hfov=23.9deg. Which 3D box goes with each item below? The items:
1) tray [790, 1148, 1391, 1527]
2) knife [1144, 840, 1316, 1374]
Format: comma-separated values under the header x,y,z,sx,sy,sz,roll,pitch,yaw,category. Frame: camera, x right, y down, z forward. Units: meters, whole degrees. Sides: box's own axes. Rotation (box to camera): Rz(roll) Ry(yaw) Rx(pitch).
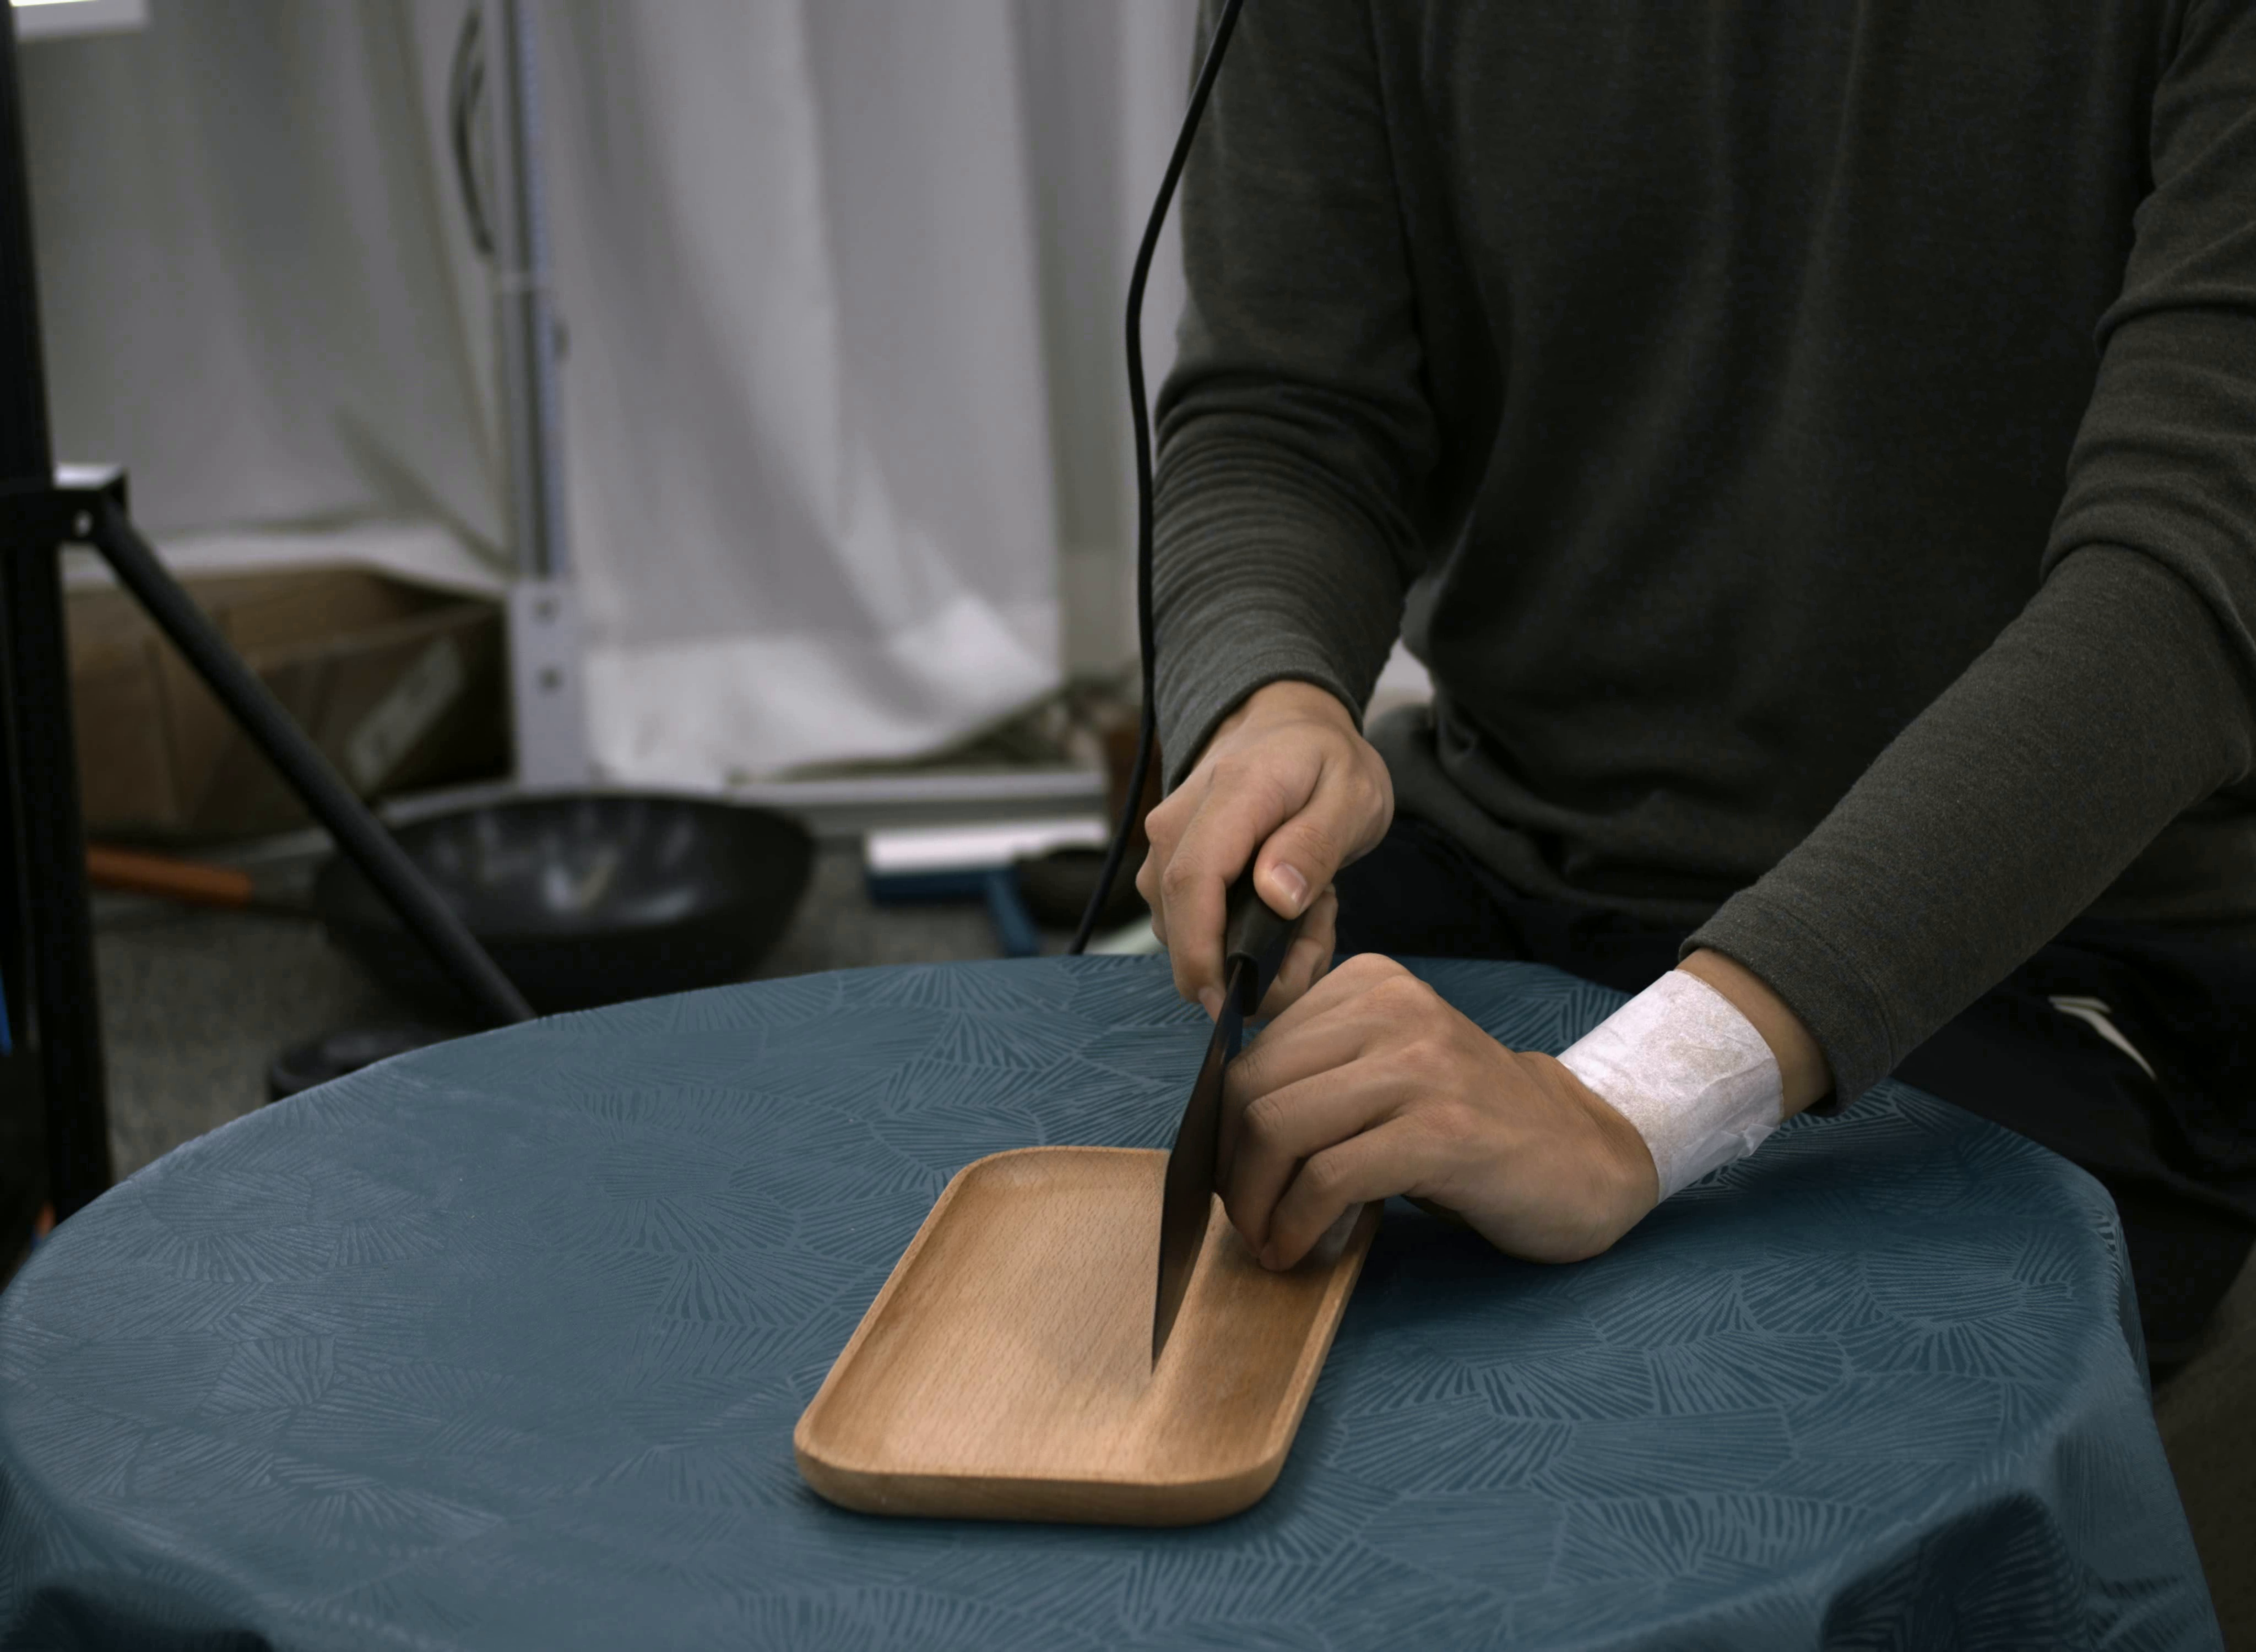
x,y,z,sx,sy,sz,roll,pitch,yaw,category
-0.005,0.135,1.438,0.131,0.023,0.249,3,15,11,tray
0.028,0.070,1.501,0.021,0.081,0.302,7,22,6,knife
